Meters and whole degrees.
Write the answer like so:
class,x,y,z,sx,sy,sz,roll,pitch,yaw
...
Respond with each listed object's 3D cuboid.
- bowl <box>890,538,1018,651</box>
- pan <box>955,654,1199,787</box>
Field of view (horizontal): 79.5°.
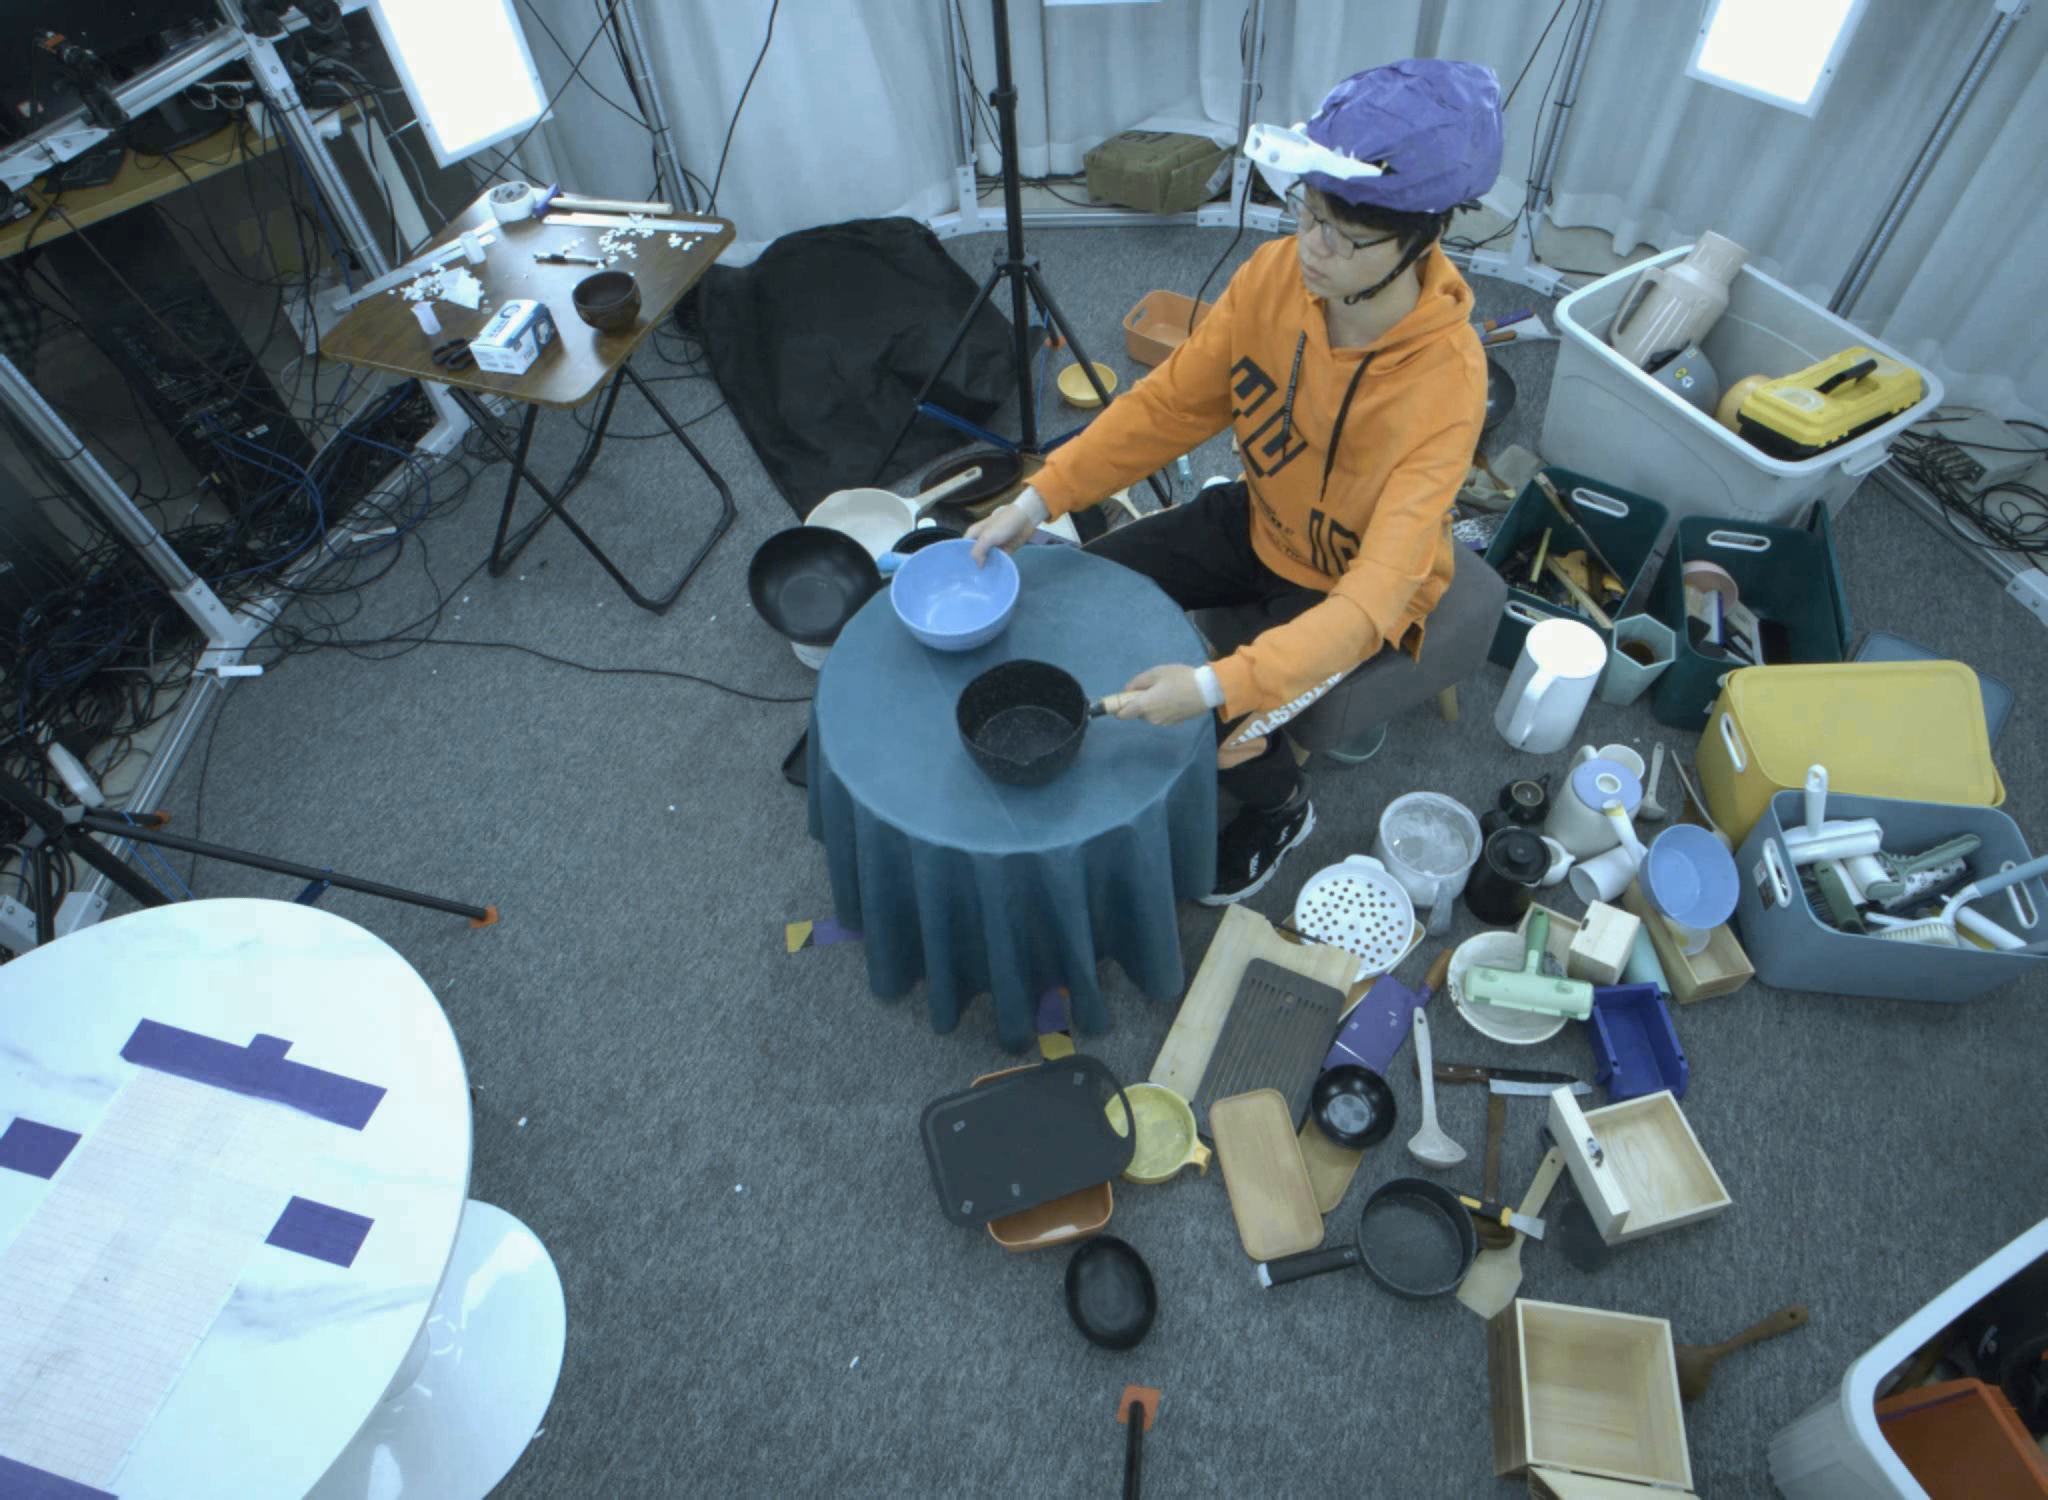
class,x,y,z,sx,sy,sz,roll,pitch,yaw
bowl,-0.102,-0.224,1.888,0.196,0.096,0.194,-2,56,4
pan,0.077,-0.050,1.740,0.343,0.109,0.204,-8,50,-1
